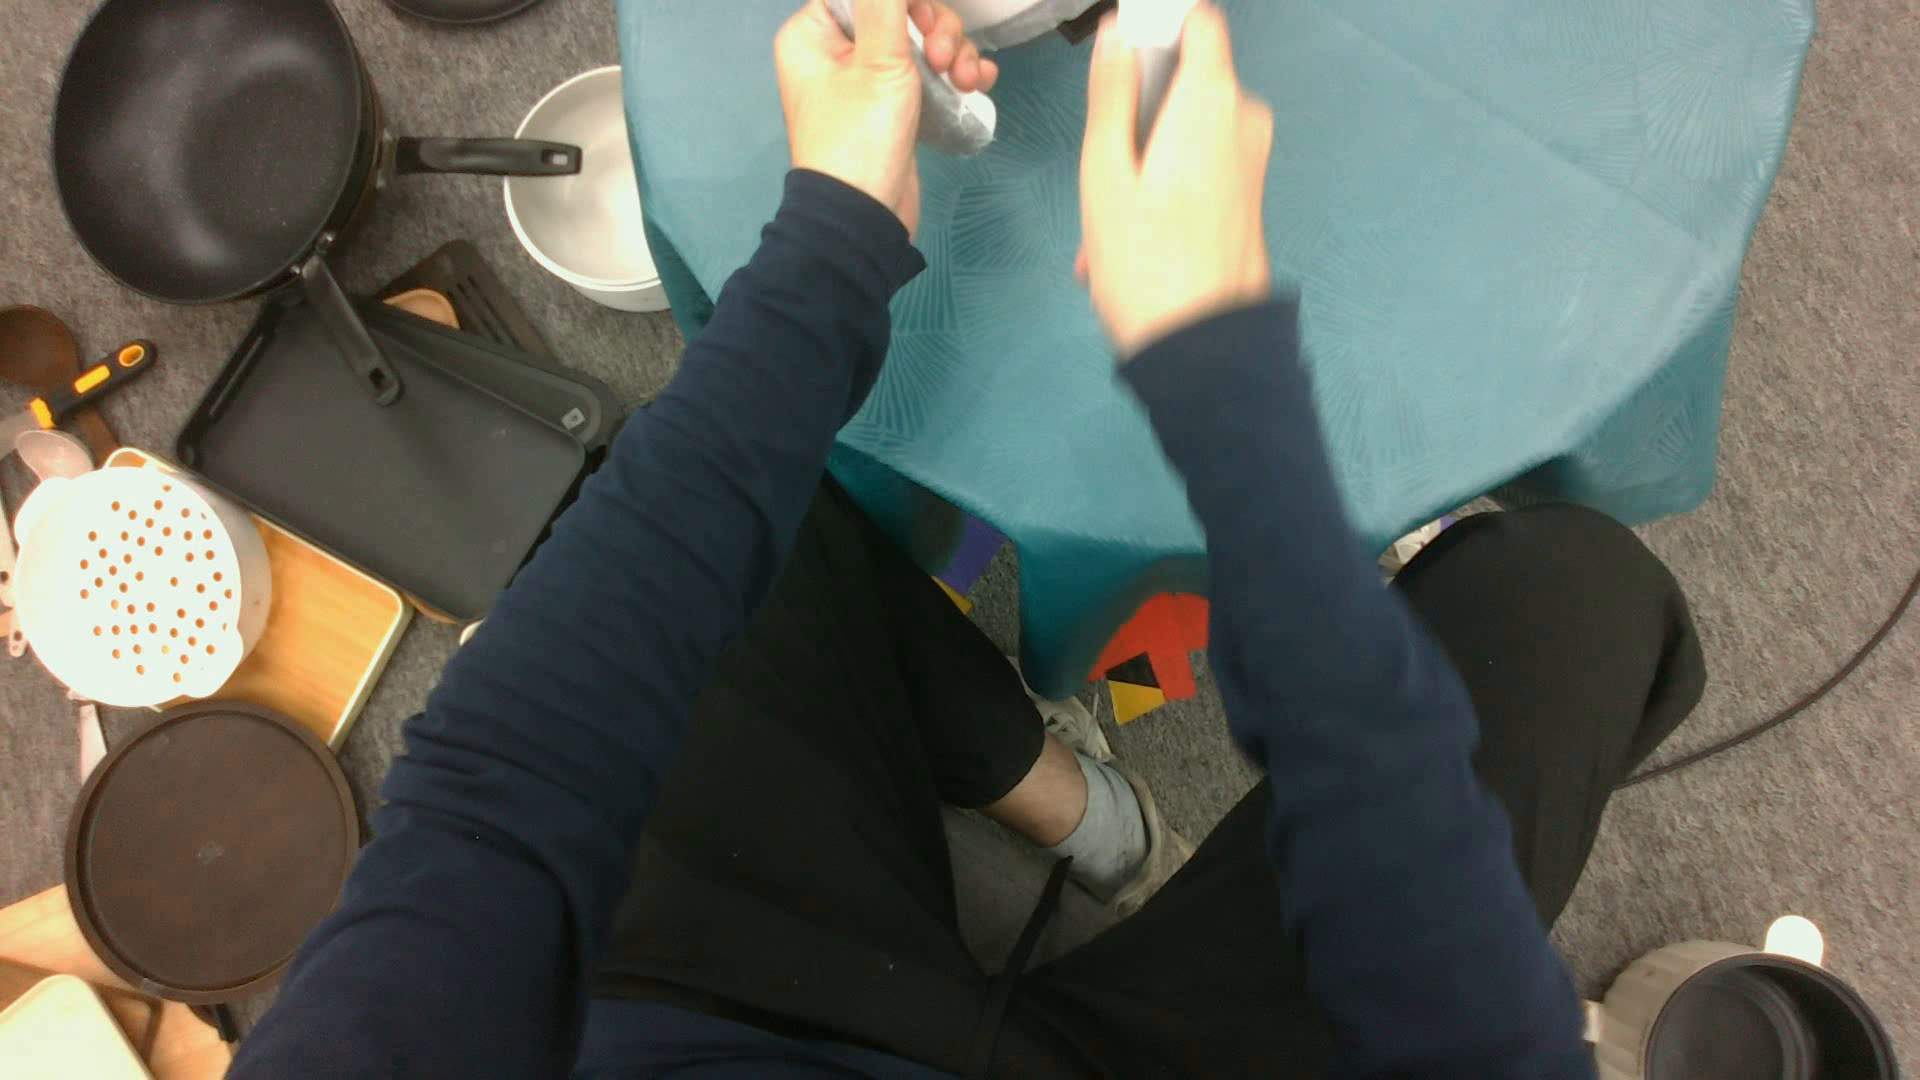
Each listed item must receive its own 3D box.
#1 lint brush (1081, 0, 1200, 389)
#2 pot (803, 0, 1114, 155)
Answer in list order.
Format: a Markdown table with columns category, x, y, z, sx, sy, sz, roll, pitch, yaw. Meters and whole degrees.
| category | x | y | z | sx | sy | sz | roll | pitch | yaw |
| --- | --- | --- | --- | --- | --- | --- | --- | --- | --- |
| lint brush | 0.069 | -0.211 | 0.526 | 0.021 | 0.060 | 0.309 | 3 | 88 | 45 |
| pot | 0.003 | -0.292 | 0.596 | 0.178 | 0.136 | 0.234 | 8 | 72 | 47 |
